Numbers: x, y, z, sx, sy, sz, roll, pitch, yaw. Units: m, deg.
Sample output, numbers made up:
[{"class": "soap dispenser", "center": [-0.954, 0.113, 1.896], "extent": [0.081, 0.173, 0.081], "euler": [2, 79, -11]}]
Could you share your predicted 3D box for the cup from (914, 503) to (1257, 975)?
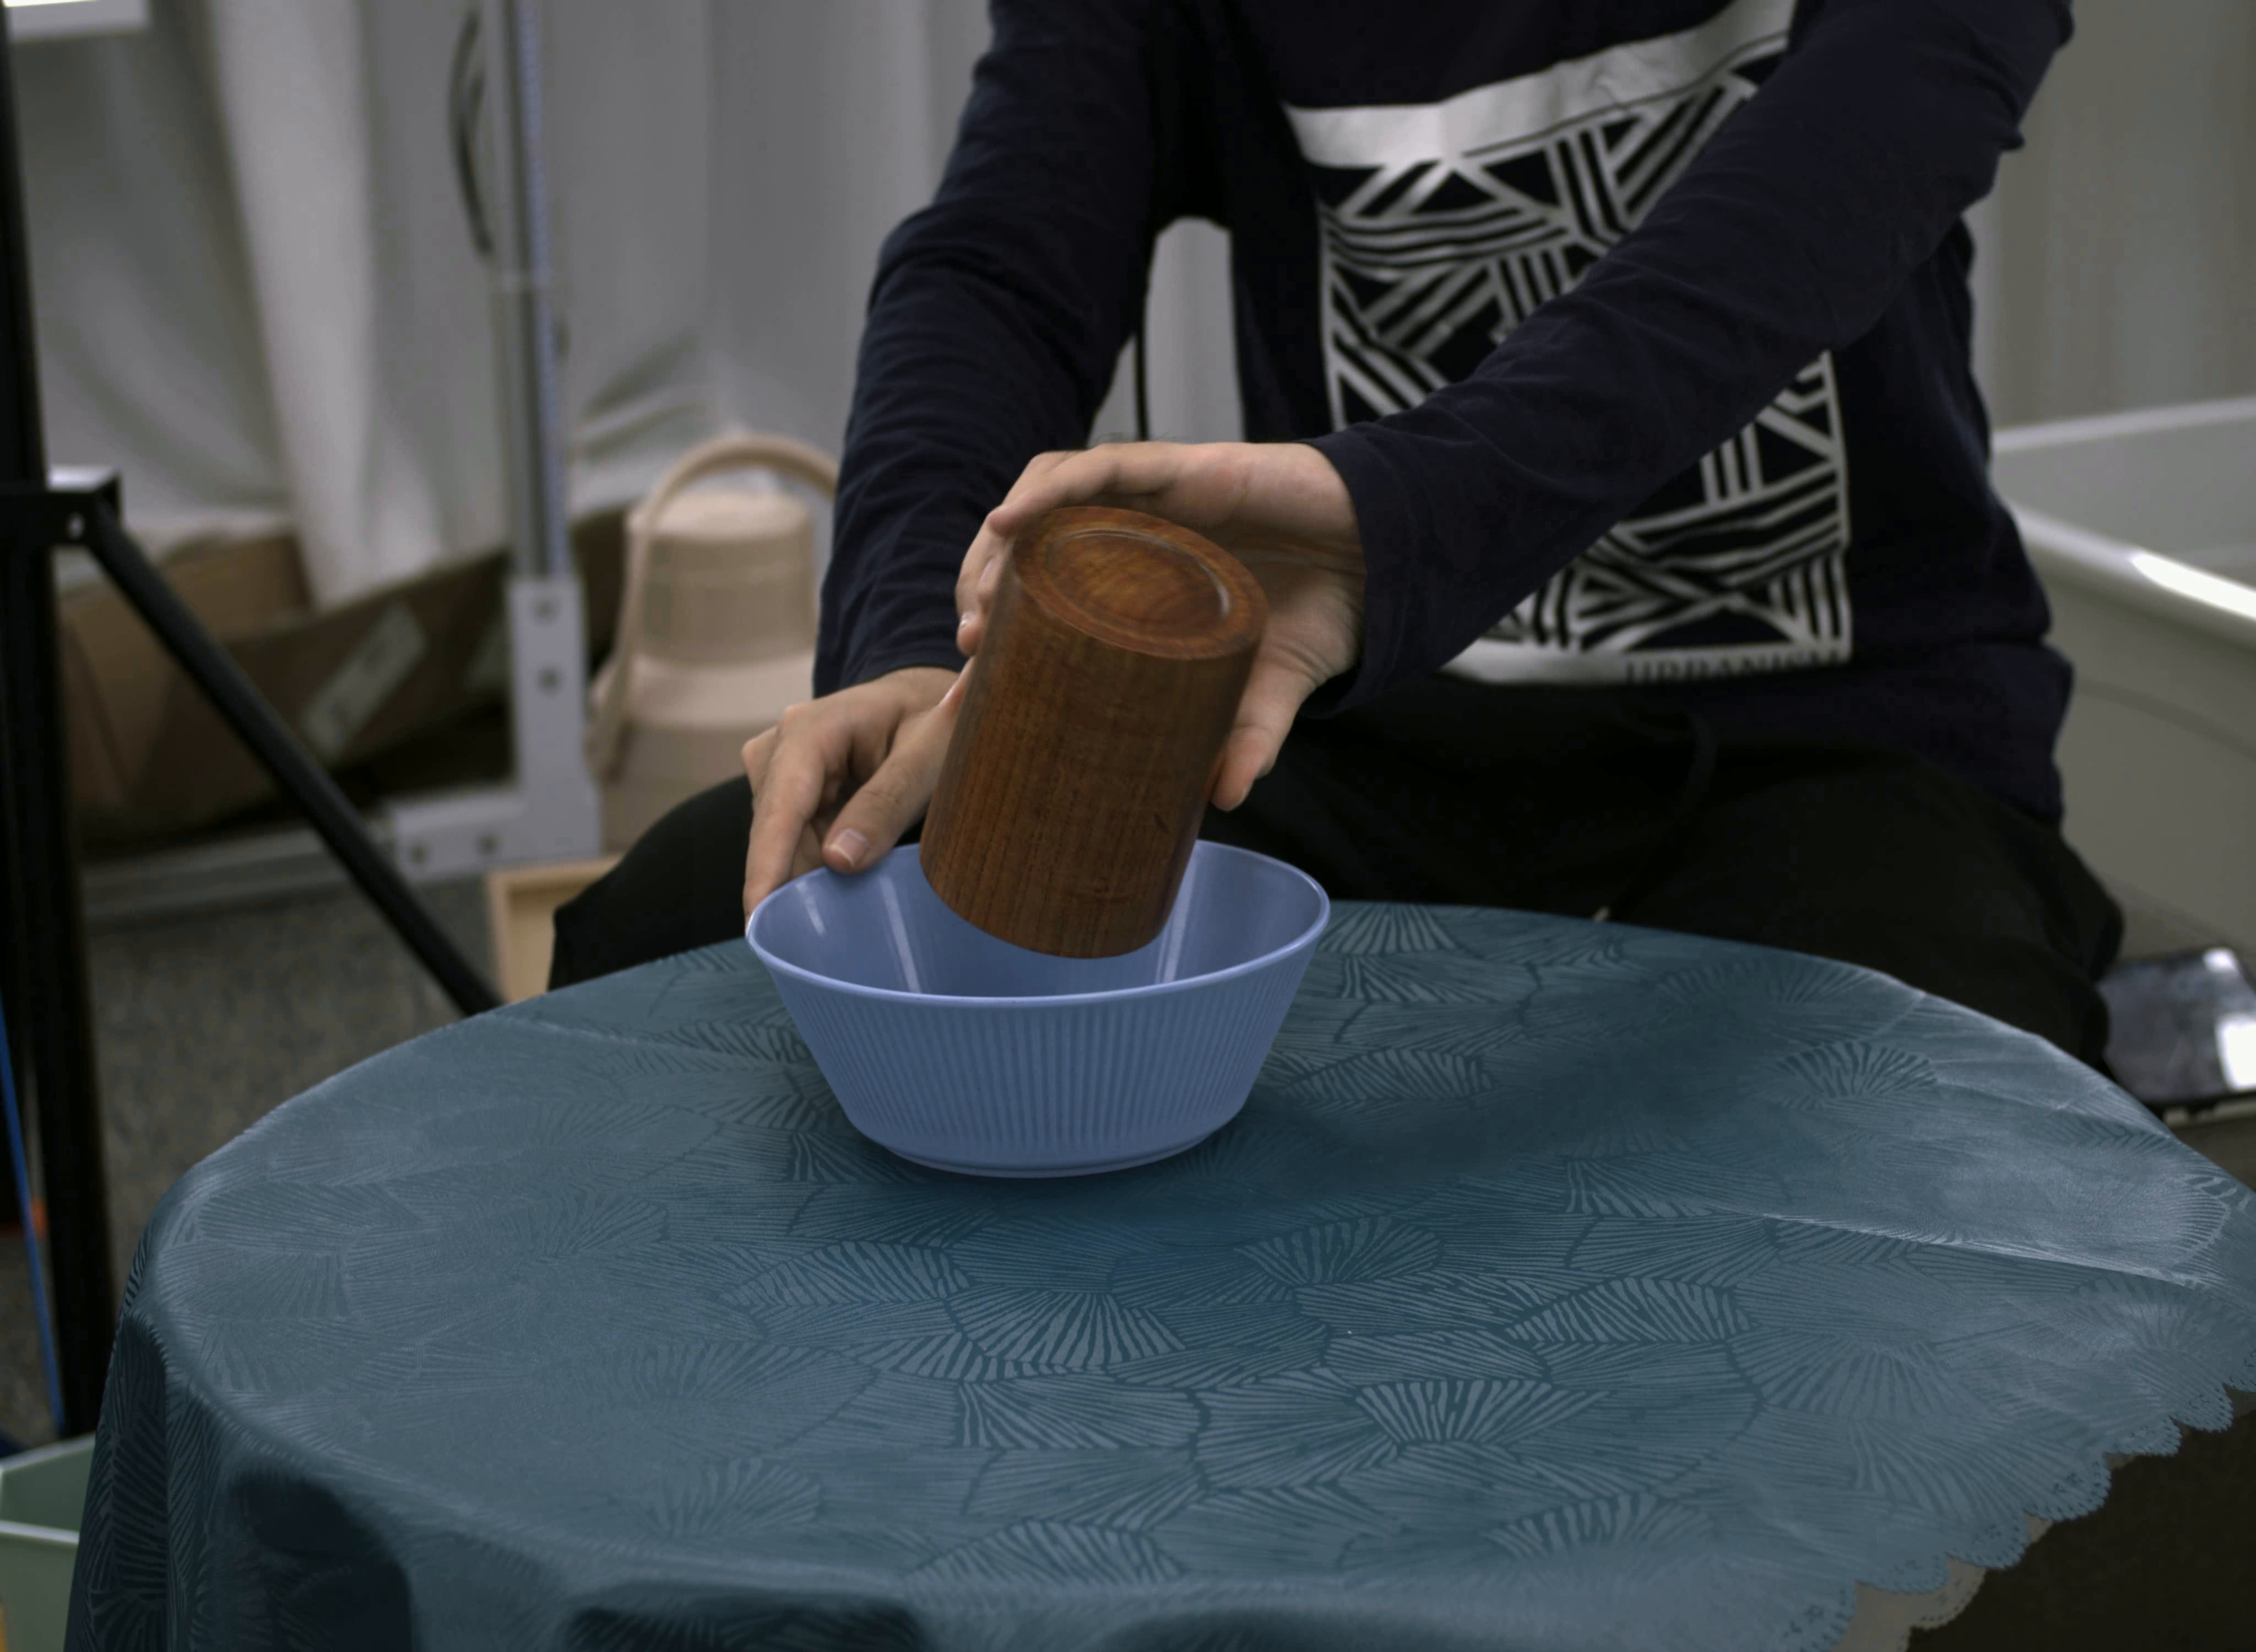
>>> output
[{"class": "cup", "center": [-0.013, -0.025, 1.584], "extent": [0.087, 0.118, 0.088], "euler": [10, 32, -8]}]

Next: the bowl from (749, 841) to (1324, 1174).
[{"class": "bowl", "center": [-0.027, 0.056, 1.619], "extent": [0.175, 0.070, 0.177], "euler": [-2, 15, -1]}]
